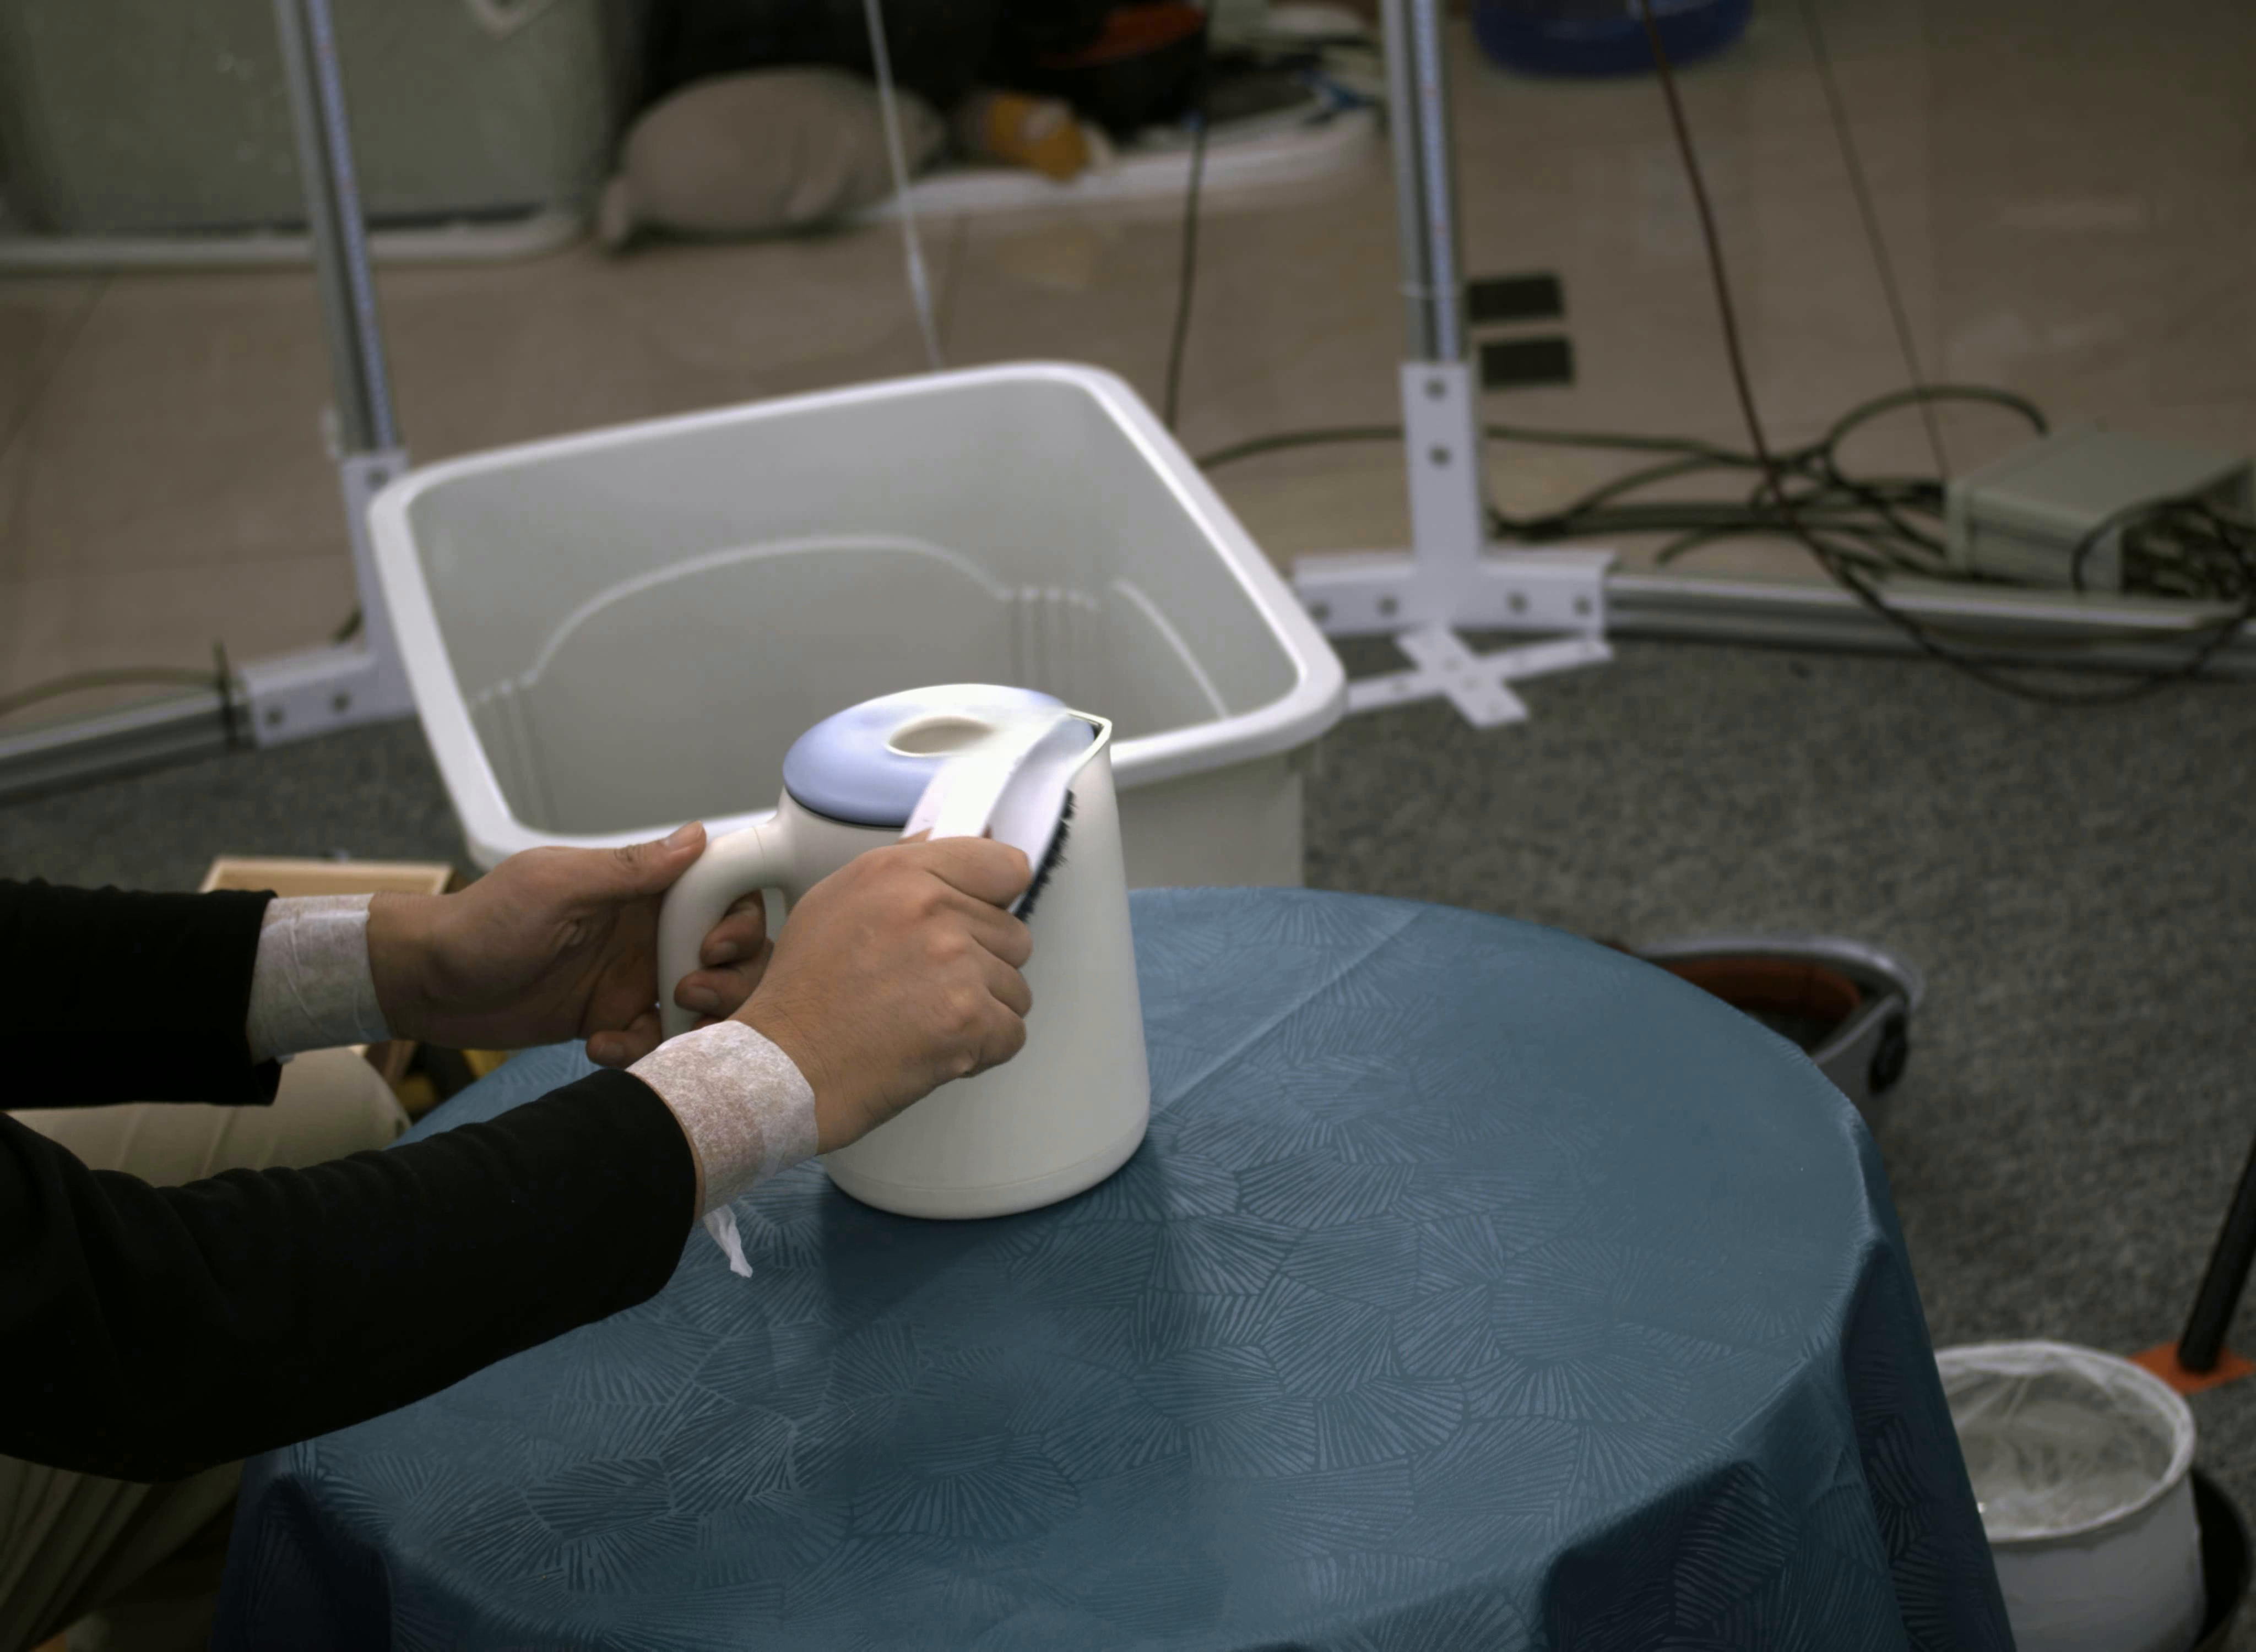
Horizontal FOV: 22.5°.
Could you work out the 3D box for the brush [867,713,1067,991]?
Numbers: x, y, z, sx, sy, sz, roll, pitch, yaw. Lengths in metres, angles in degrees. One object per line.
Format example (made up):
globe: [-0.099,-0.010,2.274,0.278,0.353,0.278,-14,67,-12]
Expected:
brush: [-0.059,0.005,2.029,0.050,0.073,0.098,27,77,8]

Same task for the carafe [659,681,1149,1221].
carafe: [-0.087,0.053,2.149,0.190,0.185,0.130,-15,27,-14]
